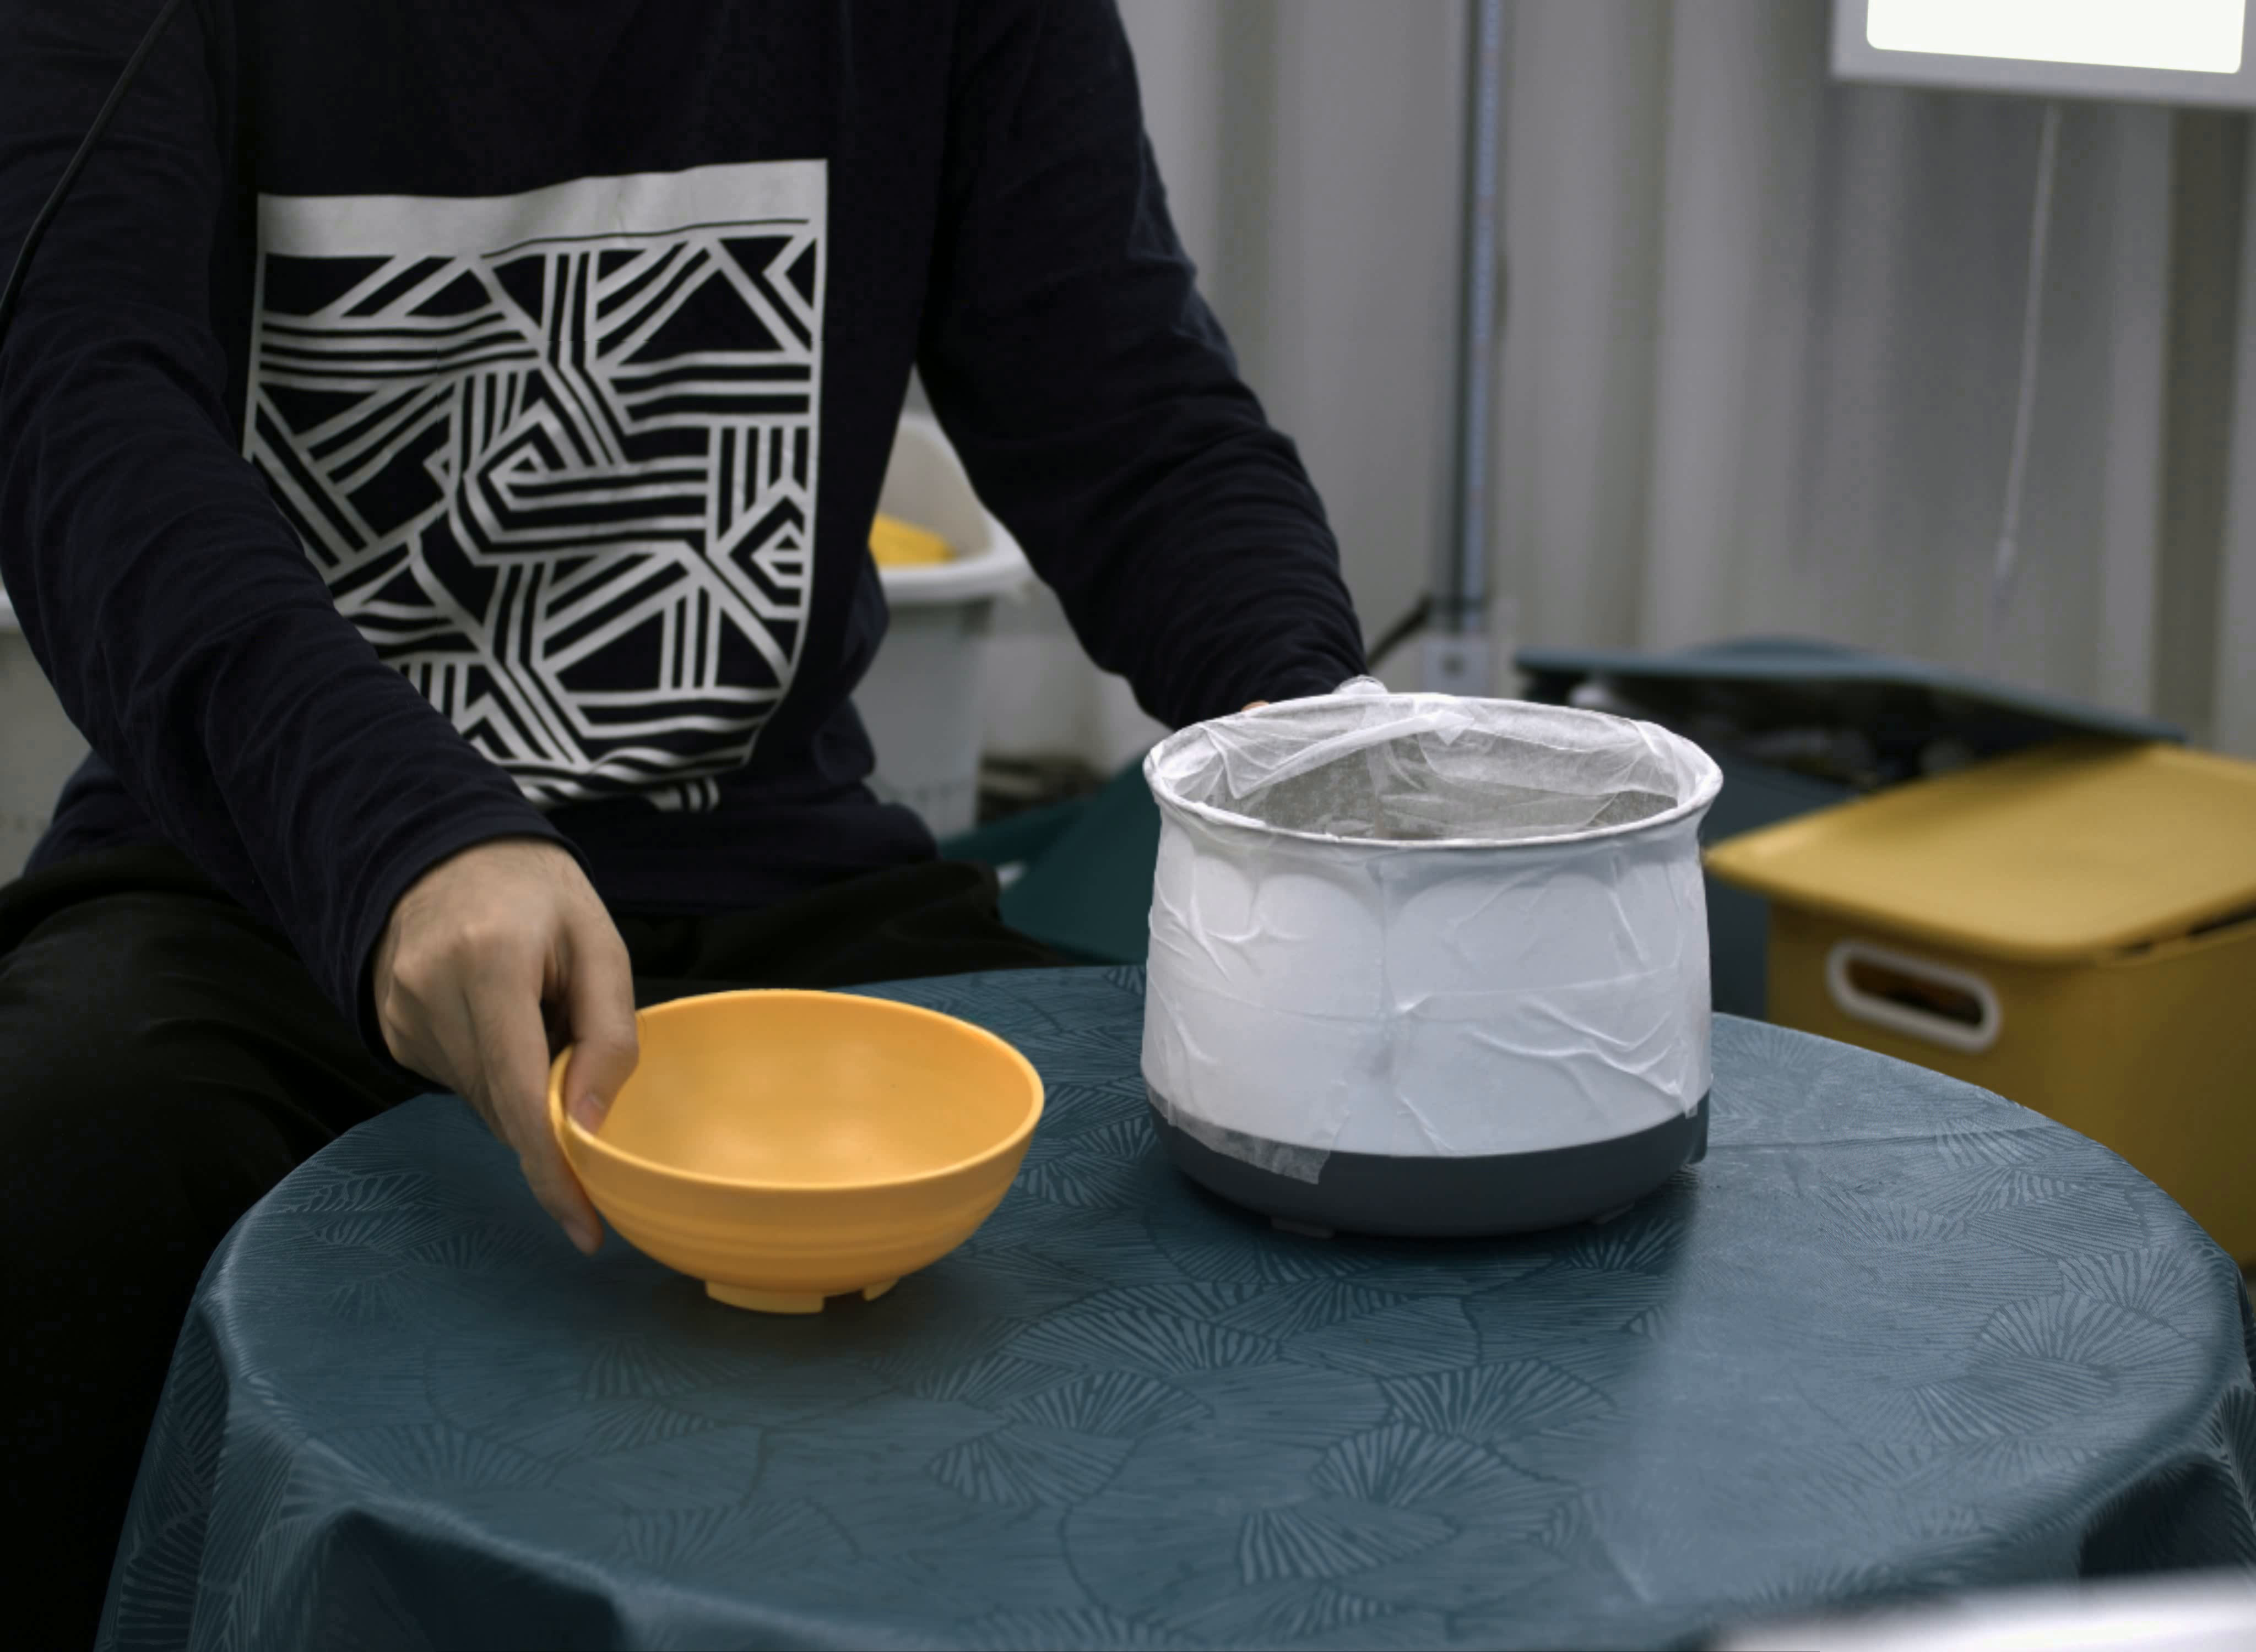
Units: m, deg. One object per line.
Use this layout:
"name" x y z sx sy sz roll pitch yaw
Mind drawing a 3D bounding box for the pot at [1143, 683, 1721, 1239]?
"pot" 0.088 0.037 1.650 0.179 0.137 0.232 -3 14 -11

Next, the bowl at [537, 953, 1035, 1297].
"bowl" -0.101 0.095 1.534 0.145 0.060 0.144 5 25 -2
